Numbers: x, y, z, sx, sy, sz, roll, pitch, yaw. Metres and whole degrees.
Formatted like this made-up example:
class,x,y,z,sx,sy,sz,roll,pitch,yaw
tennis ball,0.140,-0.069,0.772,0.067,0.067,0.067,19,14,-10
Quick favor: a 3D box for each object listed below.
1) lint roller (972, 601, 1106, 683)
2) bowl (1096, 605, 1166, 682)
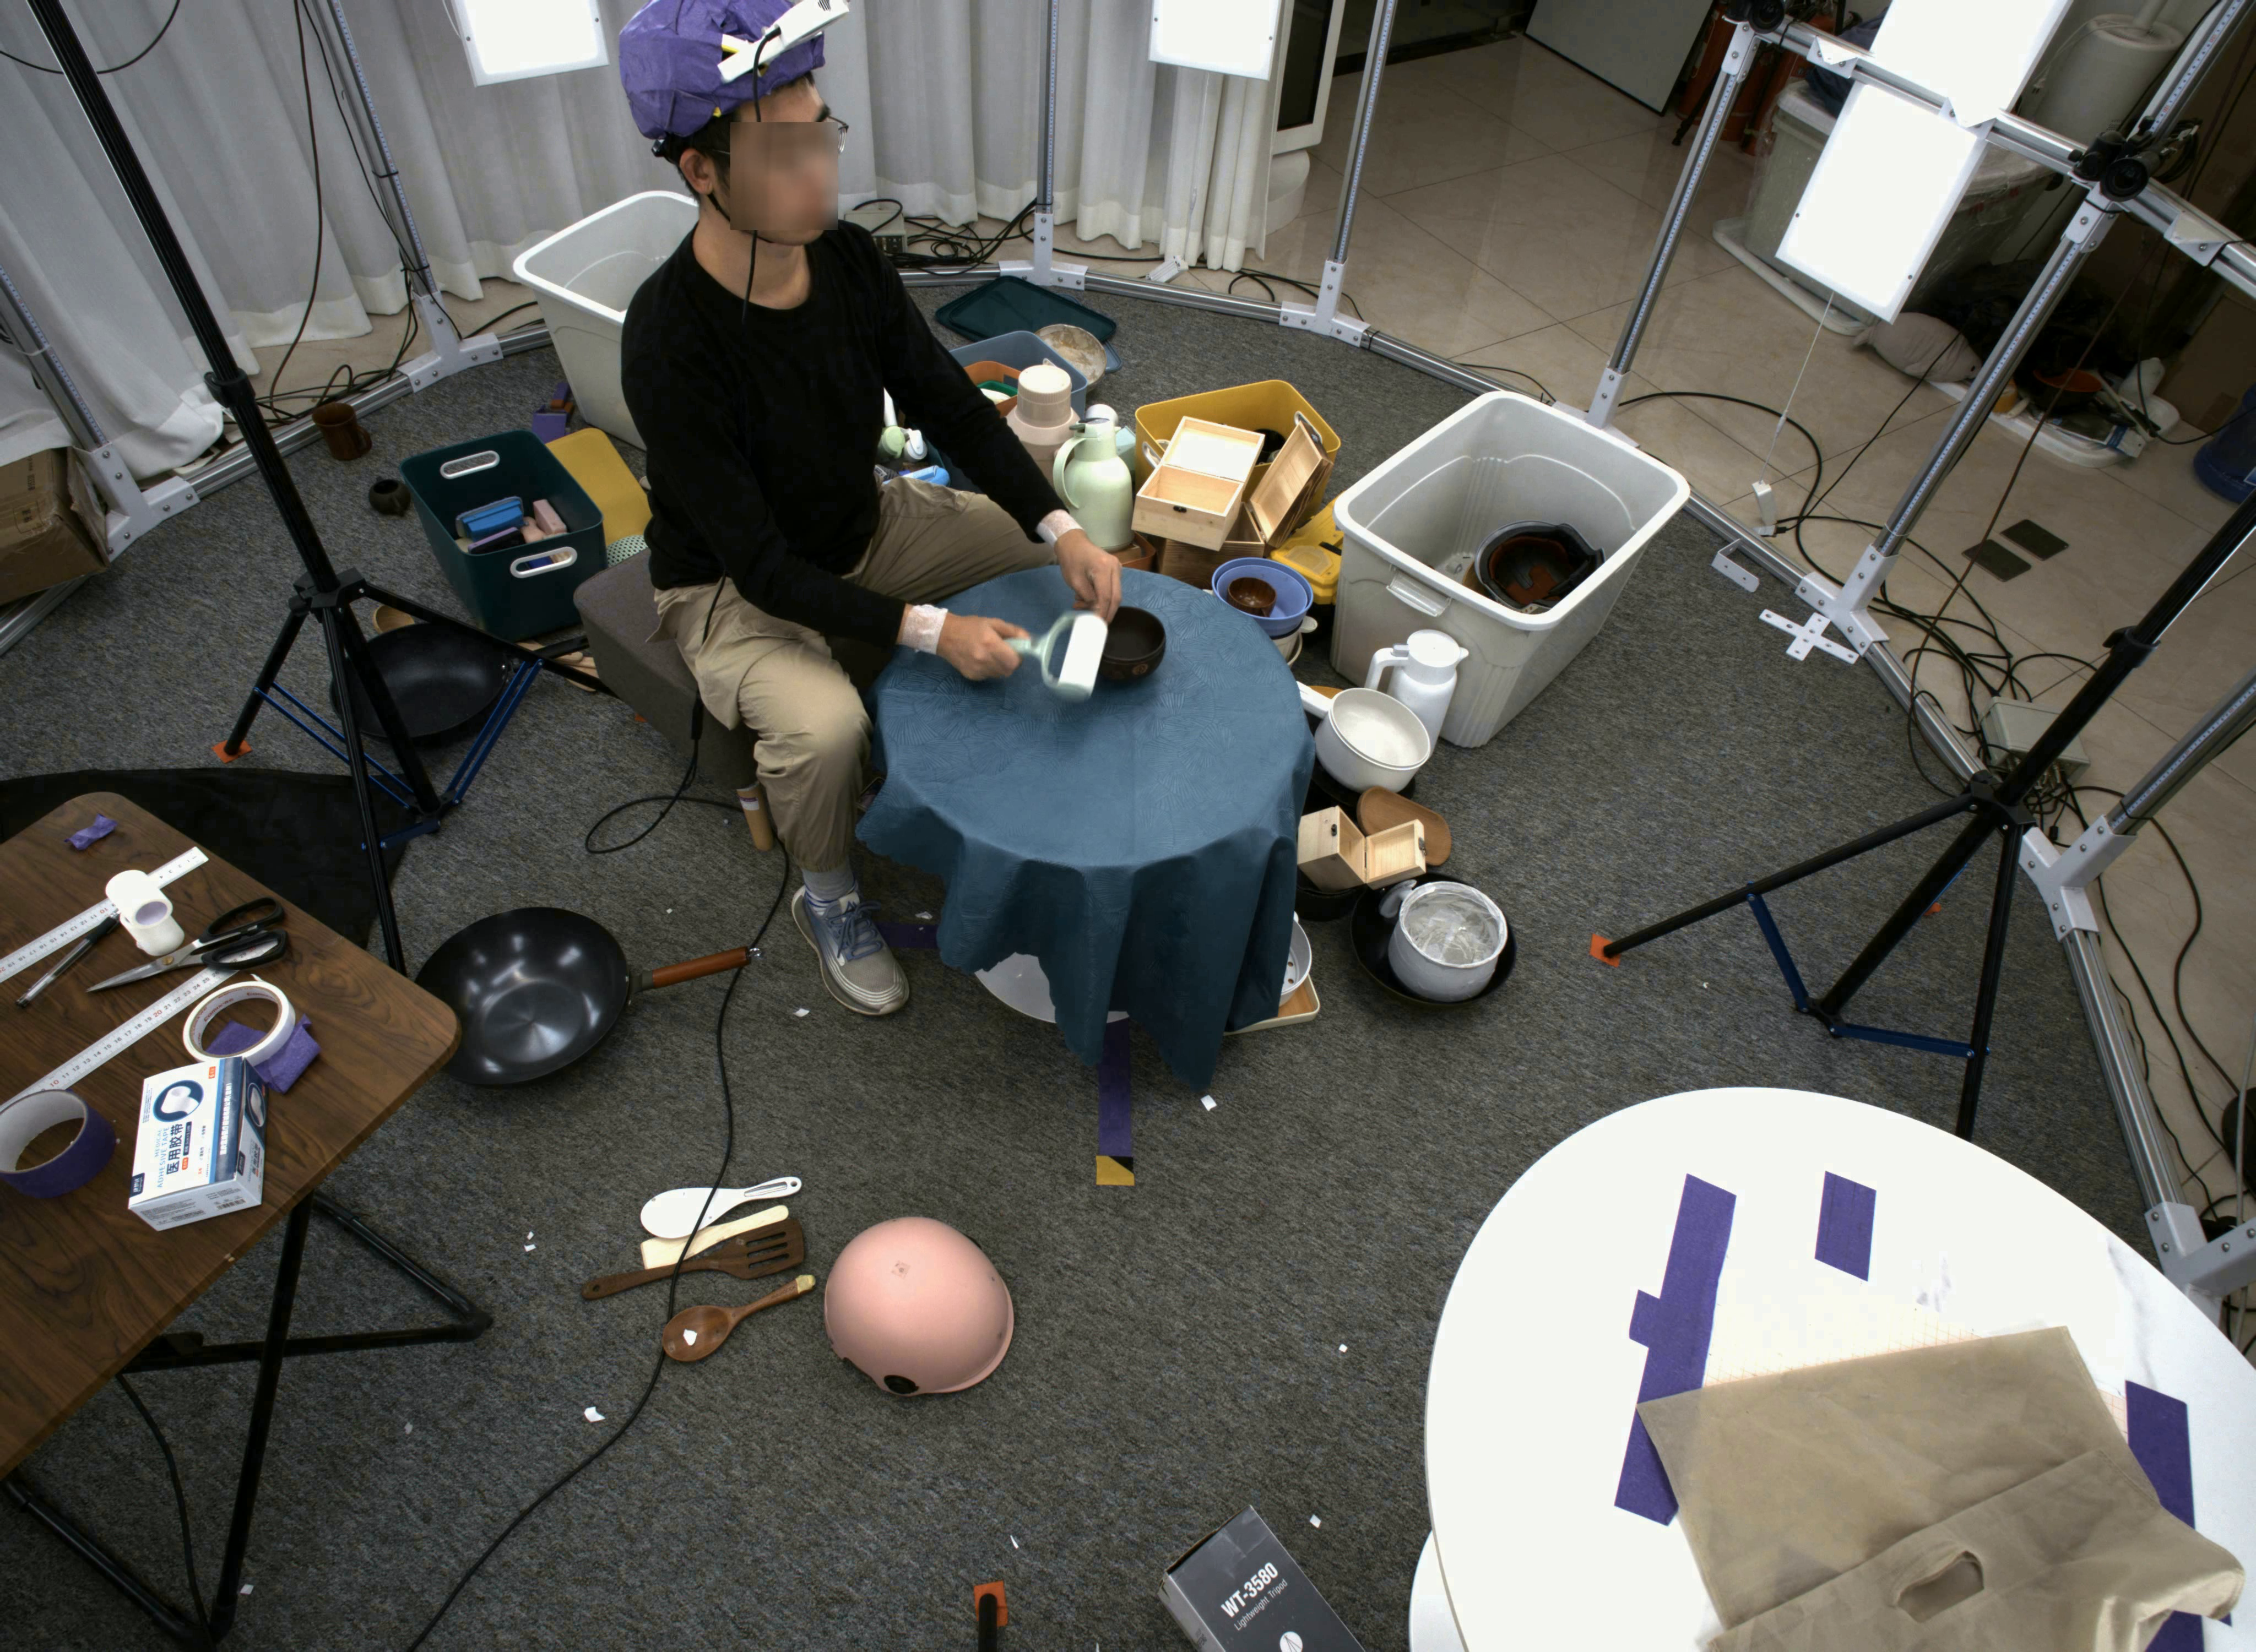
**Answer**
class,x,y,z,sx,sy,sz,roll,pitch,yaw
lint roller,-0.129,-0.256,1.794,0.198,0.047,0.119,2,65,16
bowl,-0.005,-0.254,1.843,0.118,0.068,0.121,1,49,-2
